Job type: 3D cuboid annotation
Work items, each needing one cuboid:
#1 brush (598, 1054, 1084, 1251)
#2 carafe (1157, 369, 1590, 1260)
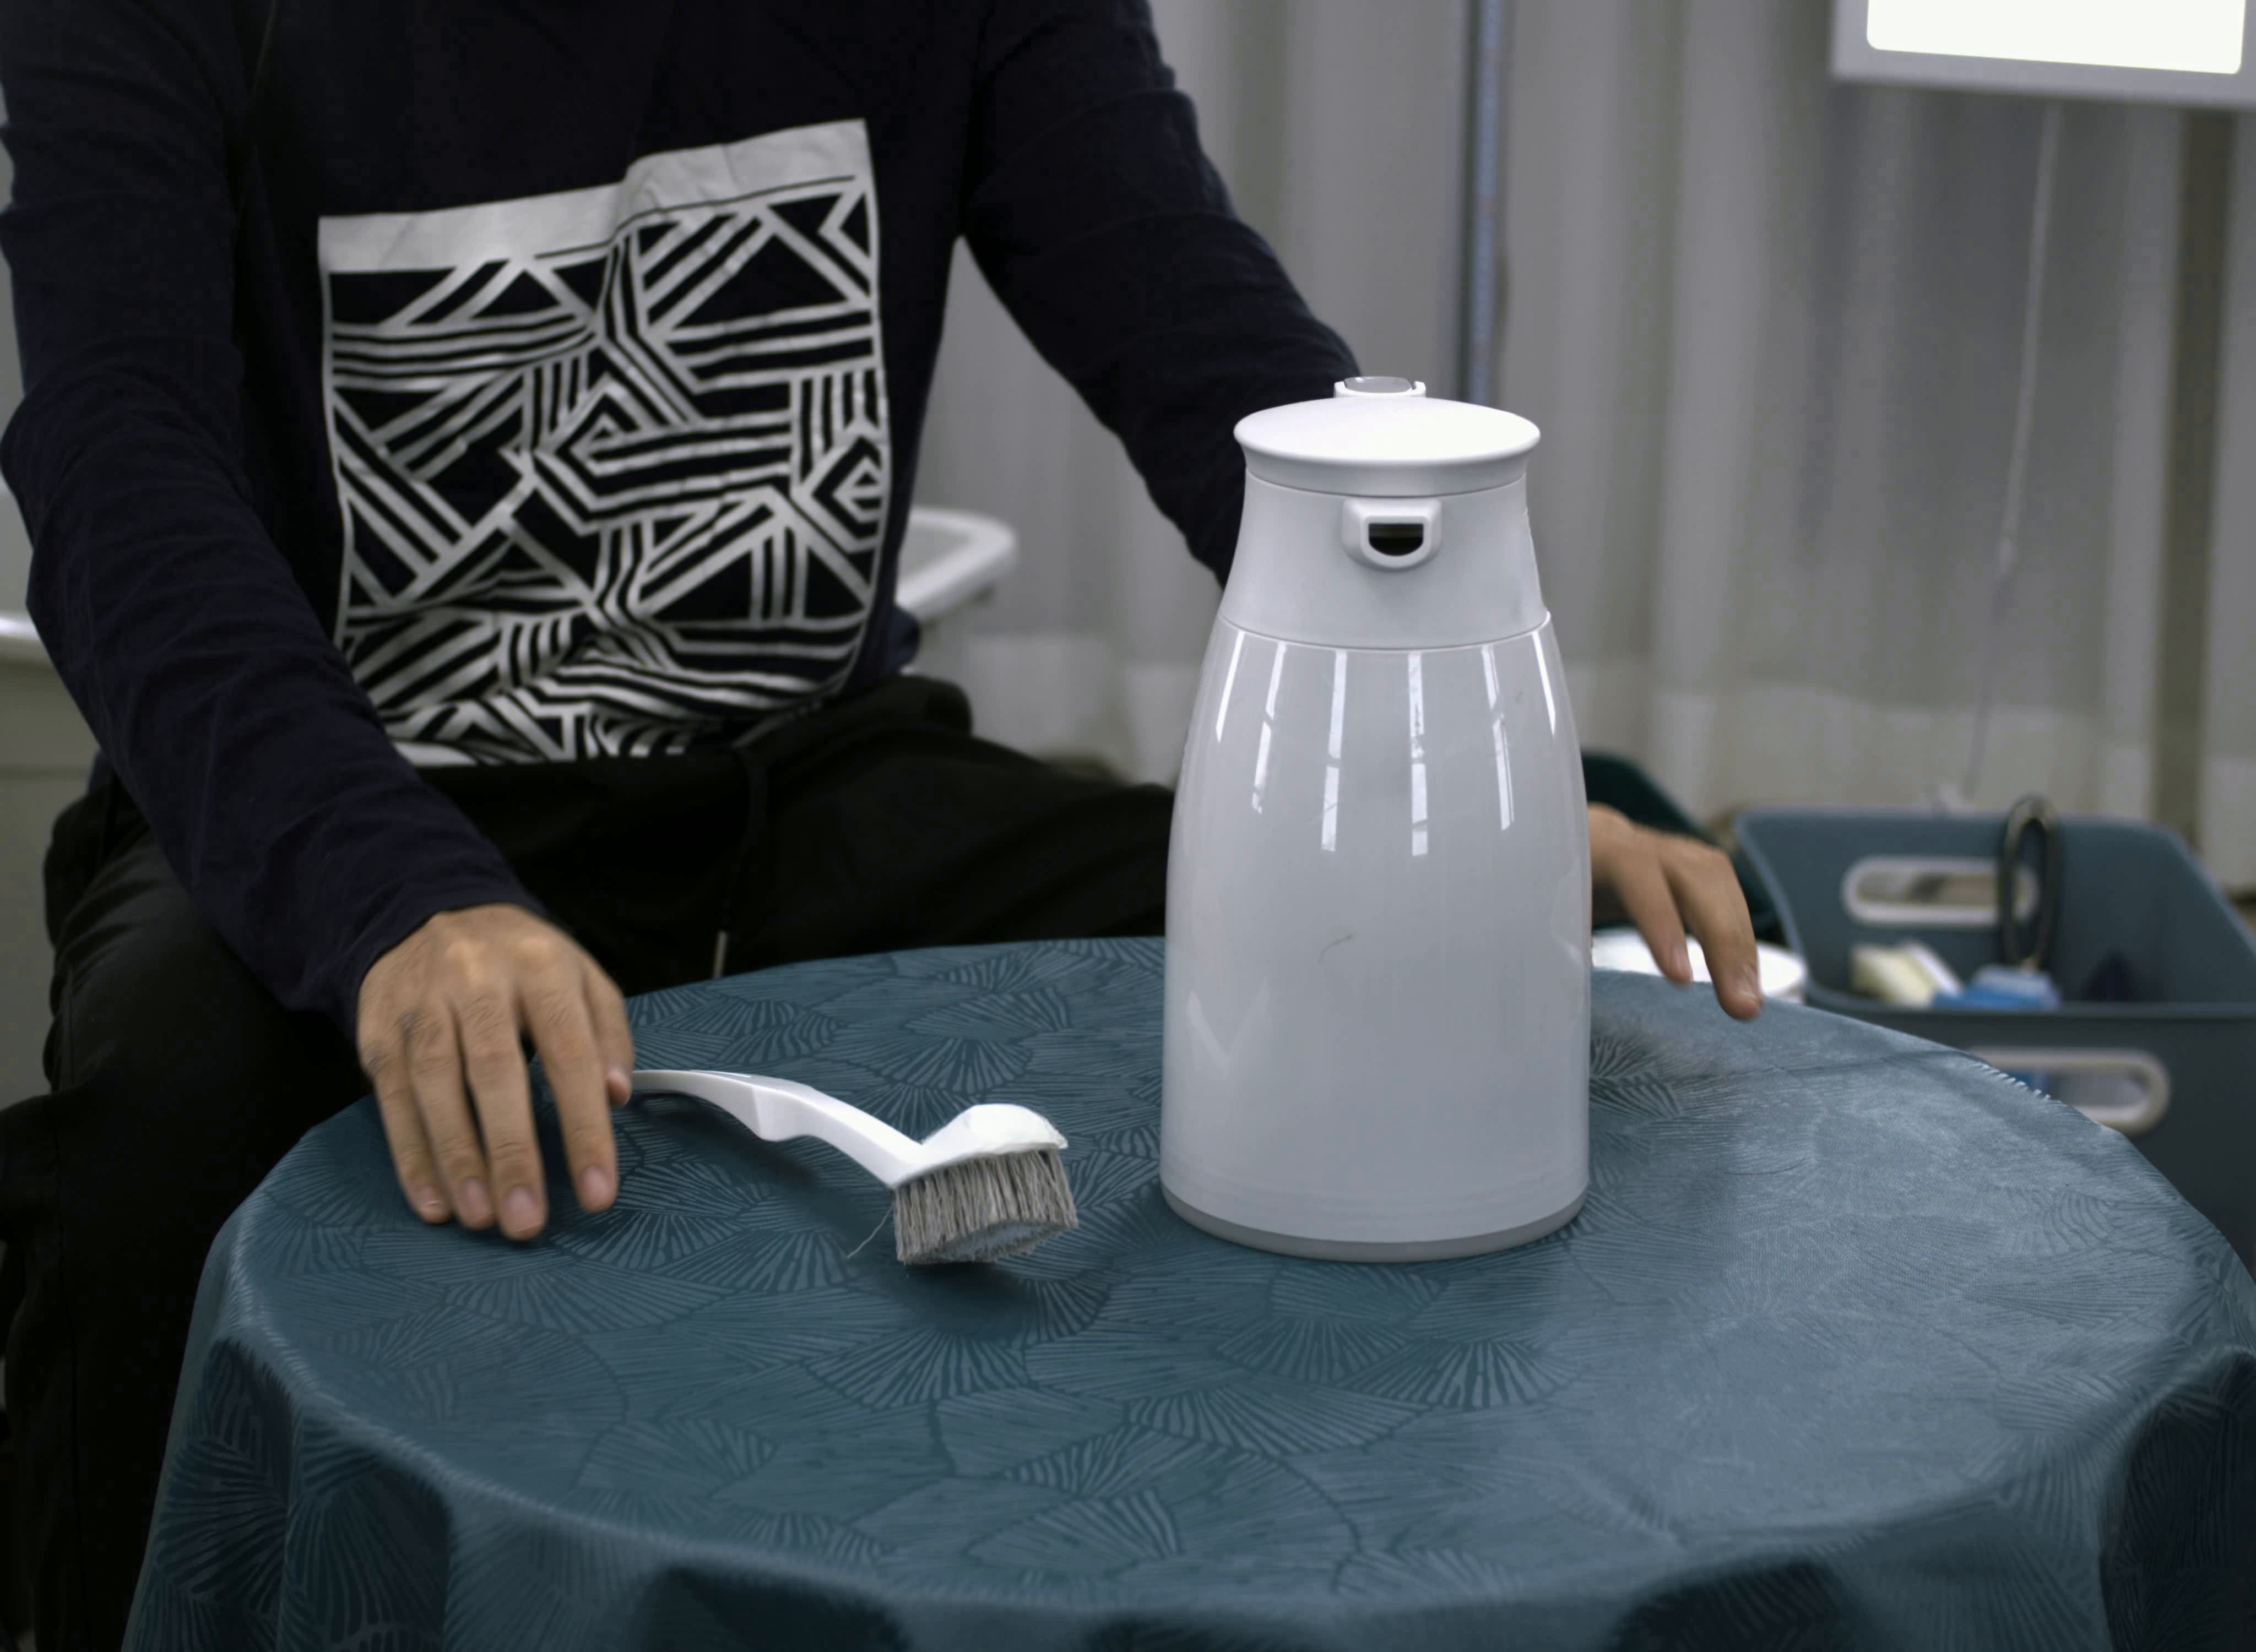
[{"bbox_3d":[-0.093,0.099,1.610,0.034,0.050,0.241,-3,4,-37],"label":"brush"},{"bbox_3d":[0.074,-0.012,1.610,0.132,0.250,0.166,-1,16,-3],"label":"carafe"}]
